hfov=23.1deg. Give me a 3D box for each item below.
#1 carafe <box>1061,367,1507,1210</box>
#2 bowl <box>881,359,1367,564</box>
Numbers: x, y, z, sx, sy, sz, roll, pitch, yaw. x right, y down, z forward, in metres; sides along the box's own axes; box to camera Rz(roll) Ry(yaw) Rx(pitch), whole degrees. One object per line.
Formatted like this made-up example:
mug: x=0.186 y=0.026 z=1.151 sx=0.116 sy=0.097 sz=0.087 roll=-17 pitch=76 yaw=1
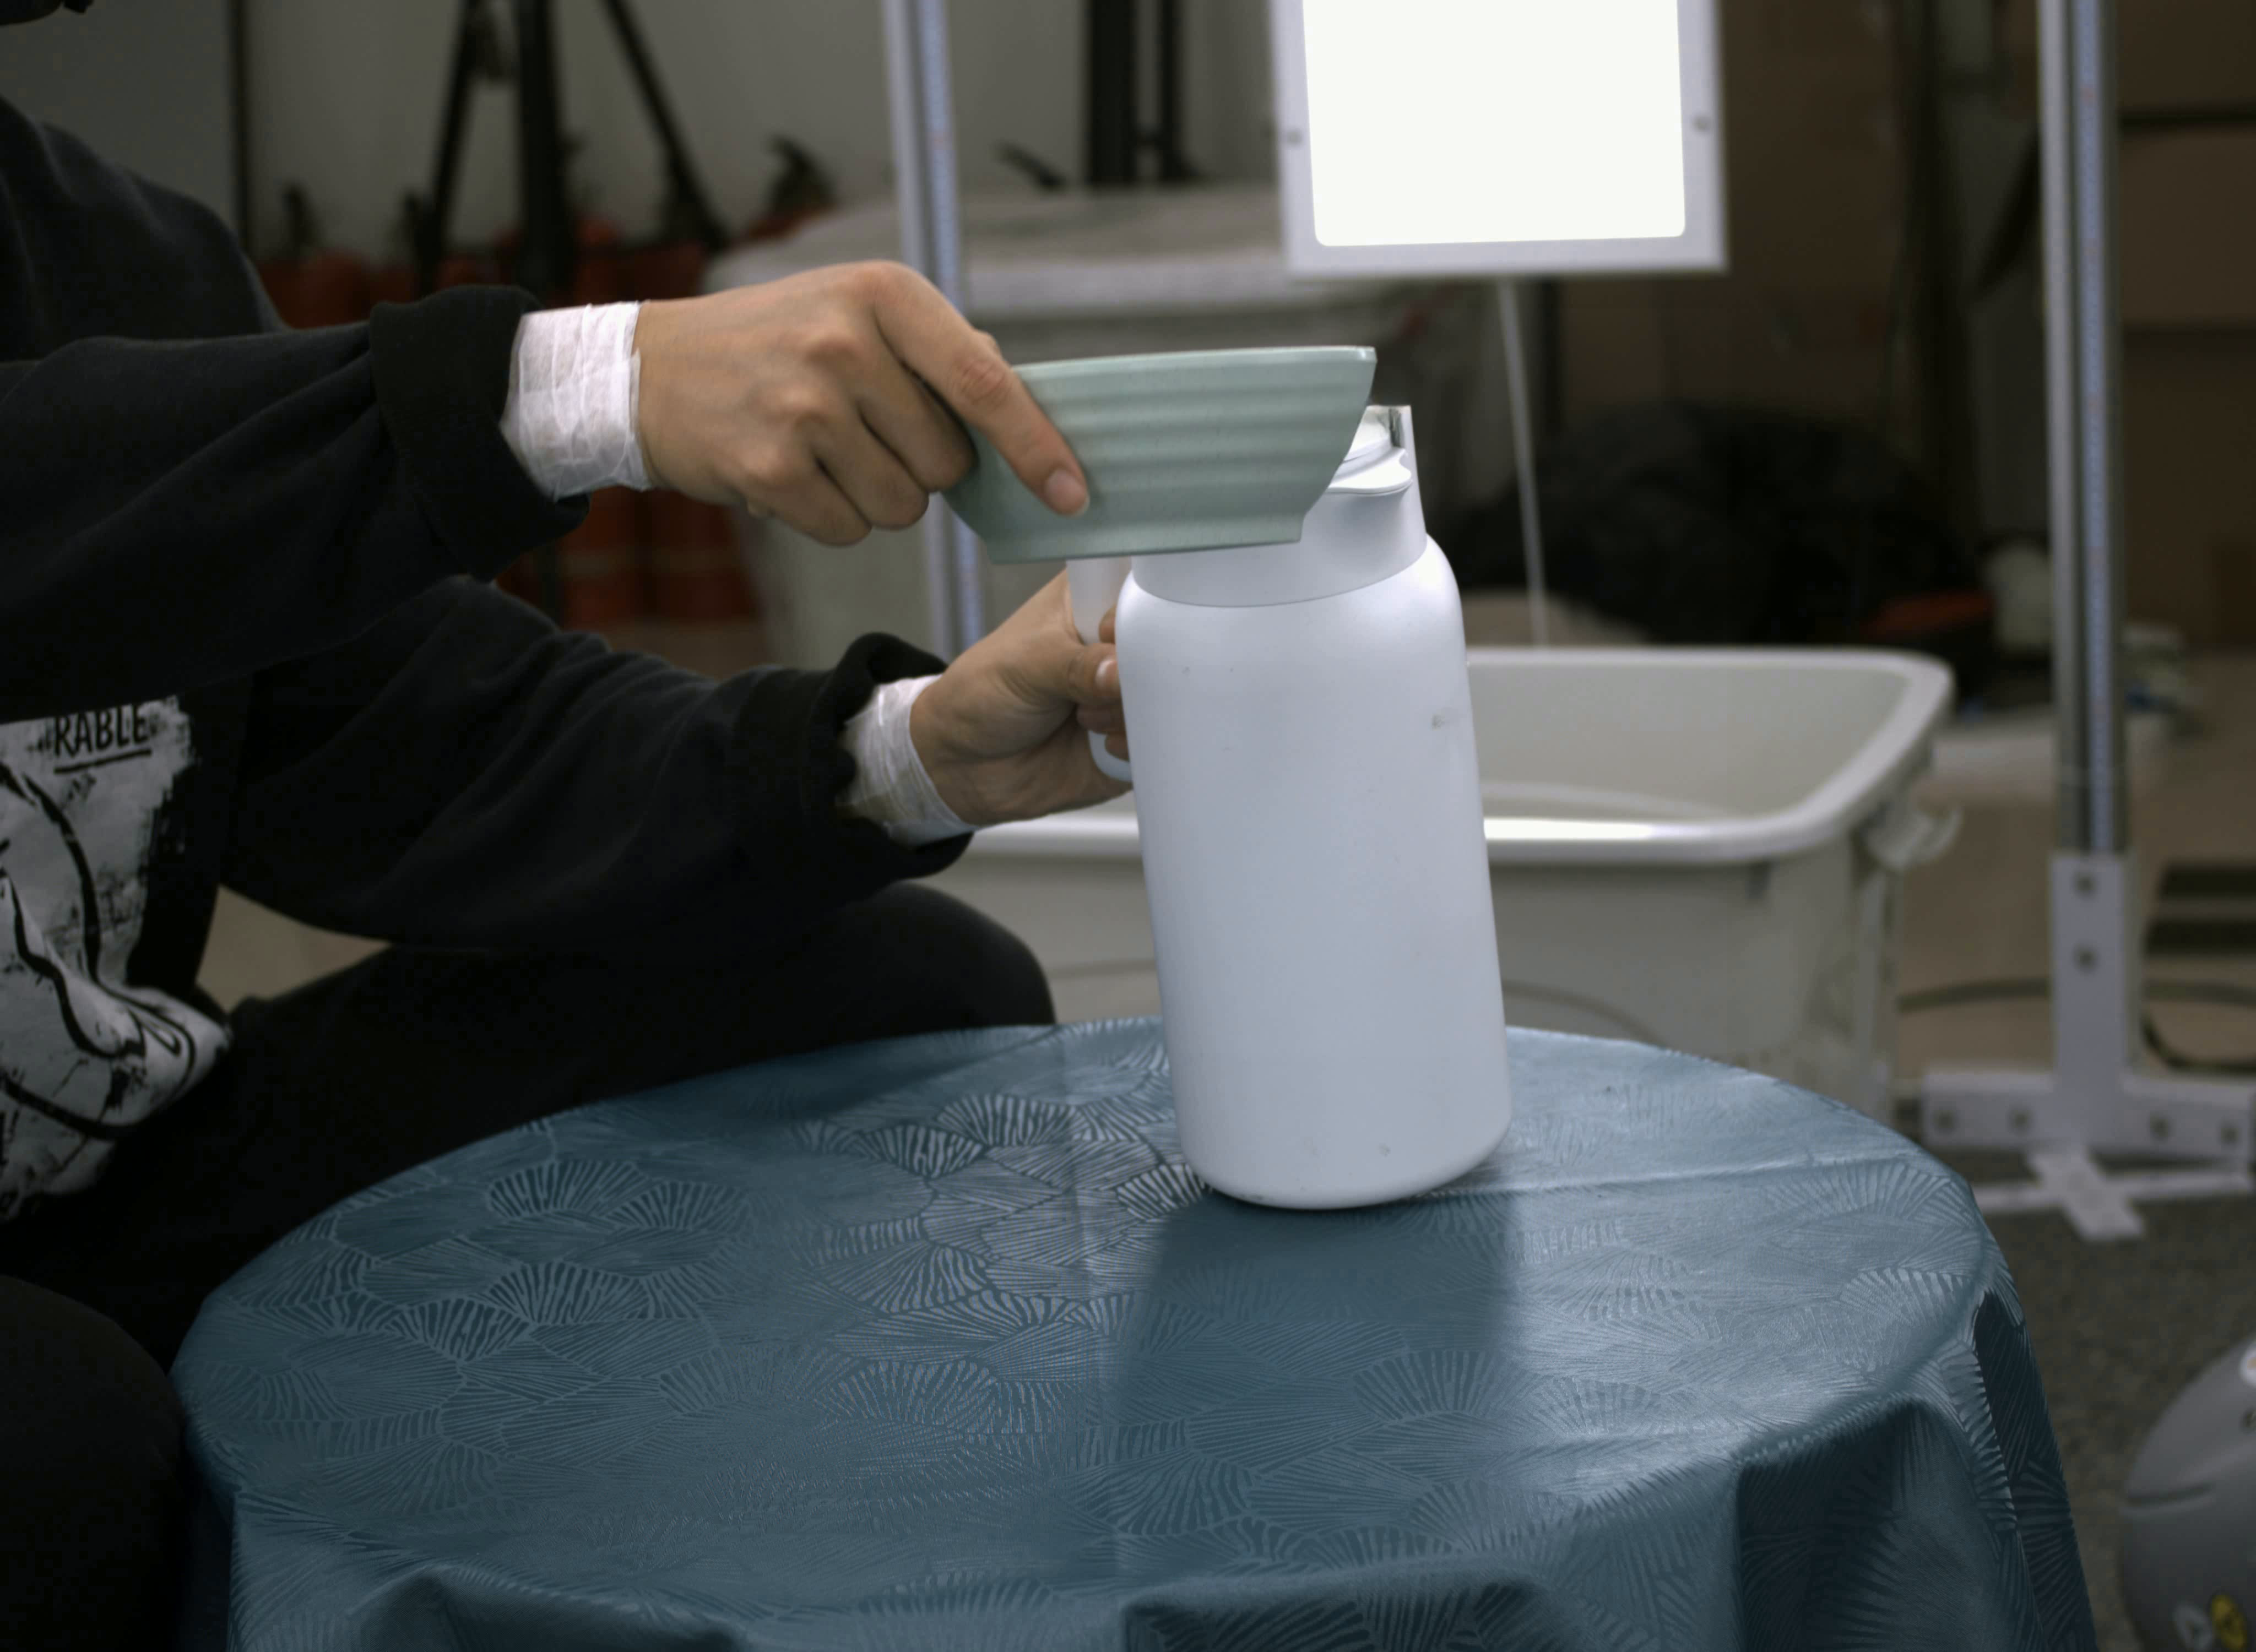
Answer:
carafe: x=0.048 y=-0.015 z=1.871 sx=0.121 sy=0.269 sz=0.176 roll=-24 pitch=26 yaw=-33
bowl: x=0.000 y=-0.111 z=1.687 sx=0.151 sy=0.059 sz=0.151 roll=-3 pitch=3 yaw=-1
